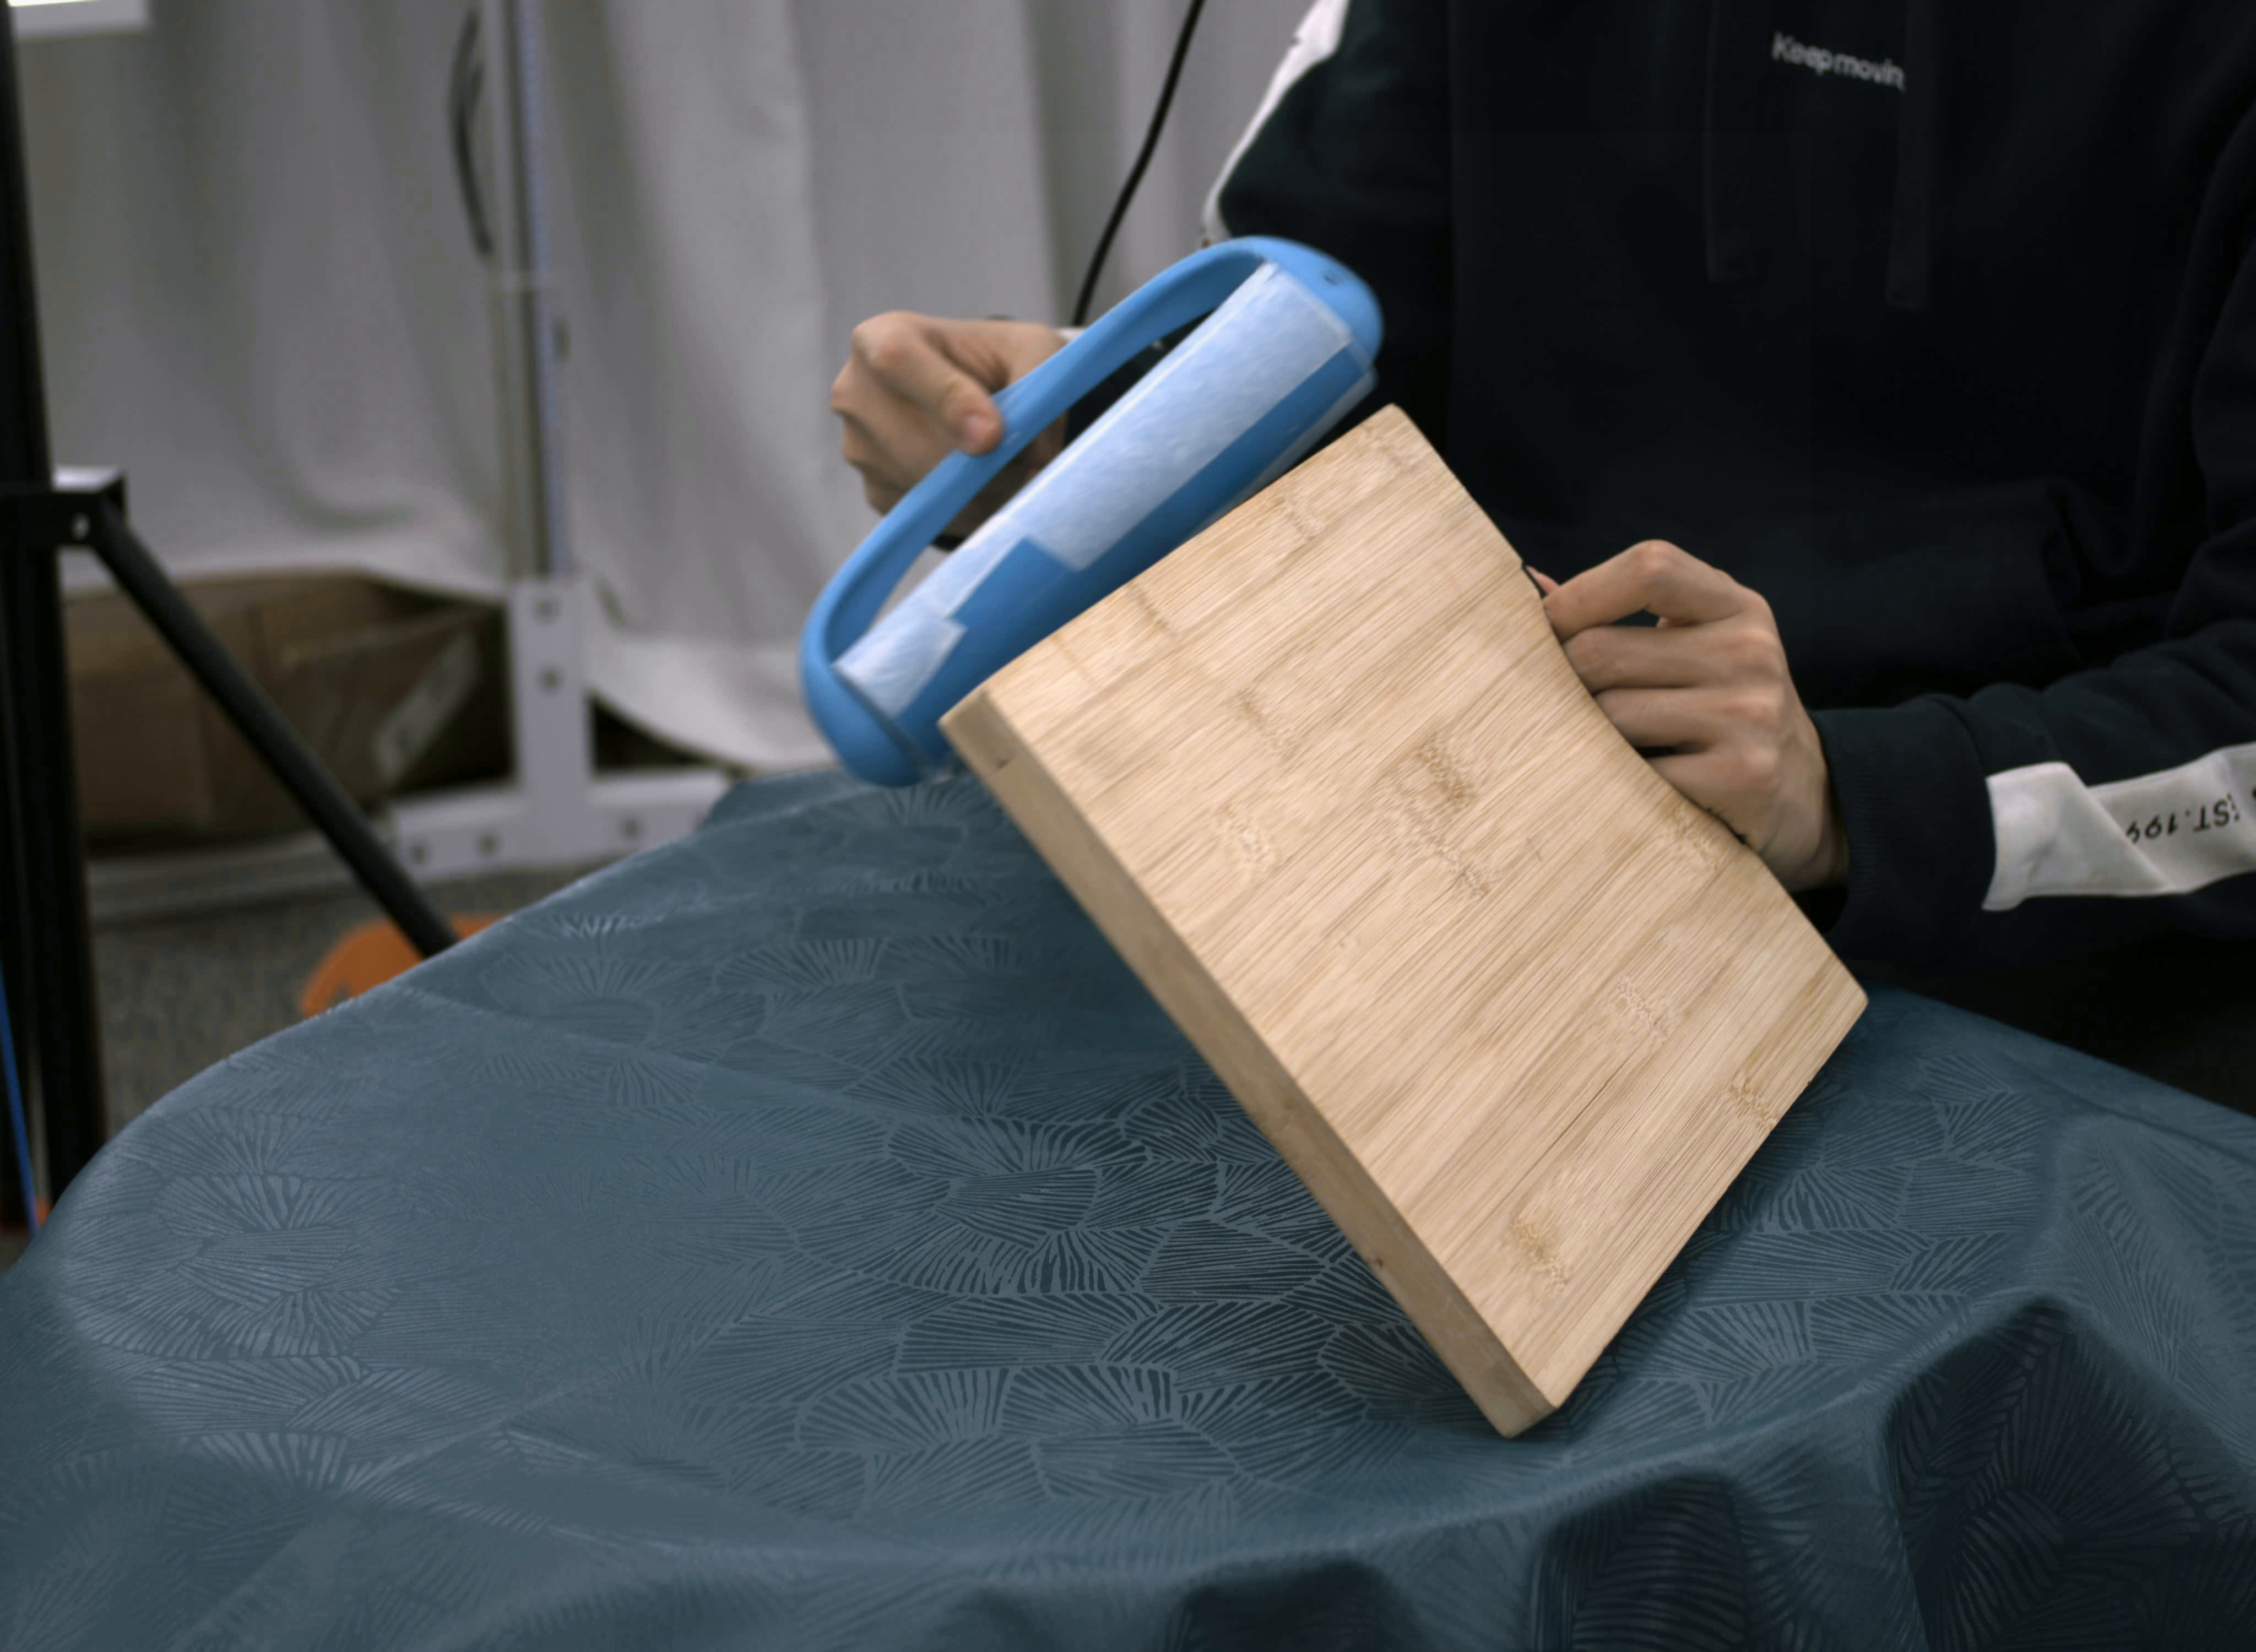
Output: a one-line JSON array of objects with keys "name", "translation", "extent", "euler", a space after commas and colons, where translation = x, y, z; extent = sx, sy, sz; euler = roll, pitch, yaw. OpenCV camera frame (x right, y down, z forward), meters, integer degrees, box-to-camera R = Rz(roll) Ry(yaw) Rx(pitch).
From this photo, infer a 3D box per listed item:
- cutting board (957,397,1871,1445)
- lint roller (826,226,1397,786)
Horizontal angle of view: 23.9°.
[{"name": "cutting board", "translation": [0.093, 0.013, 1.512], "extent": [0.024, 0.251, 0.344], "euler": [-38, 0, 27]}, {"name": "lint roller", "translation": [-0.025, -0.114, 1.771], "extent": [0.228, 0.067, 0.184], "euler": [-47, 27, -7]}]
